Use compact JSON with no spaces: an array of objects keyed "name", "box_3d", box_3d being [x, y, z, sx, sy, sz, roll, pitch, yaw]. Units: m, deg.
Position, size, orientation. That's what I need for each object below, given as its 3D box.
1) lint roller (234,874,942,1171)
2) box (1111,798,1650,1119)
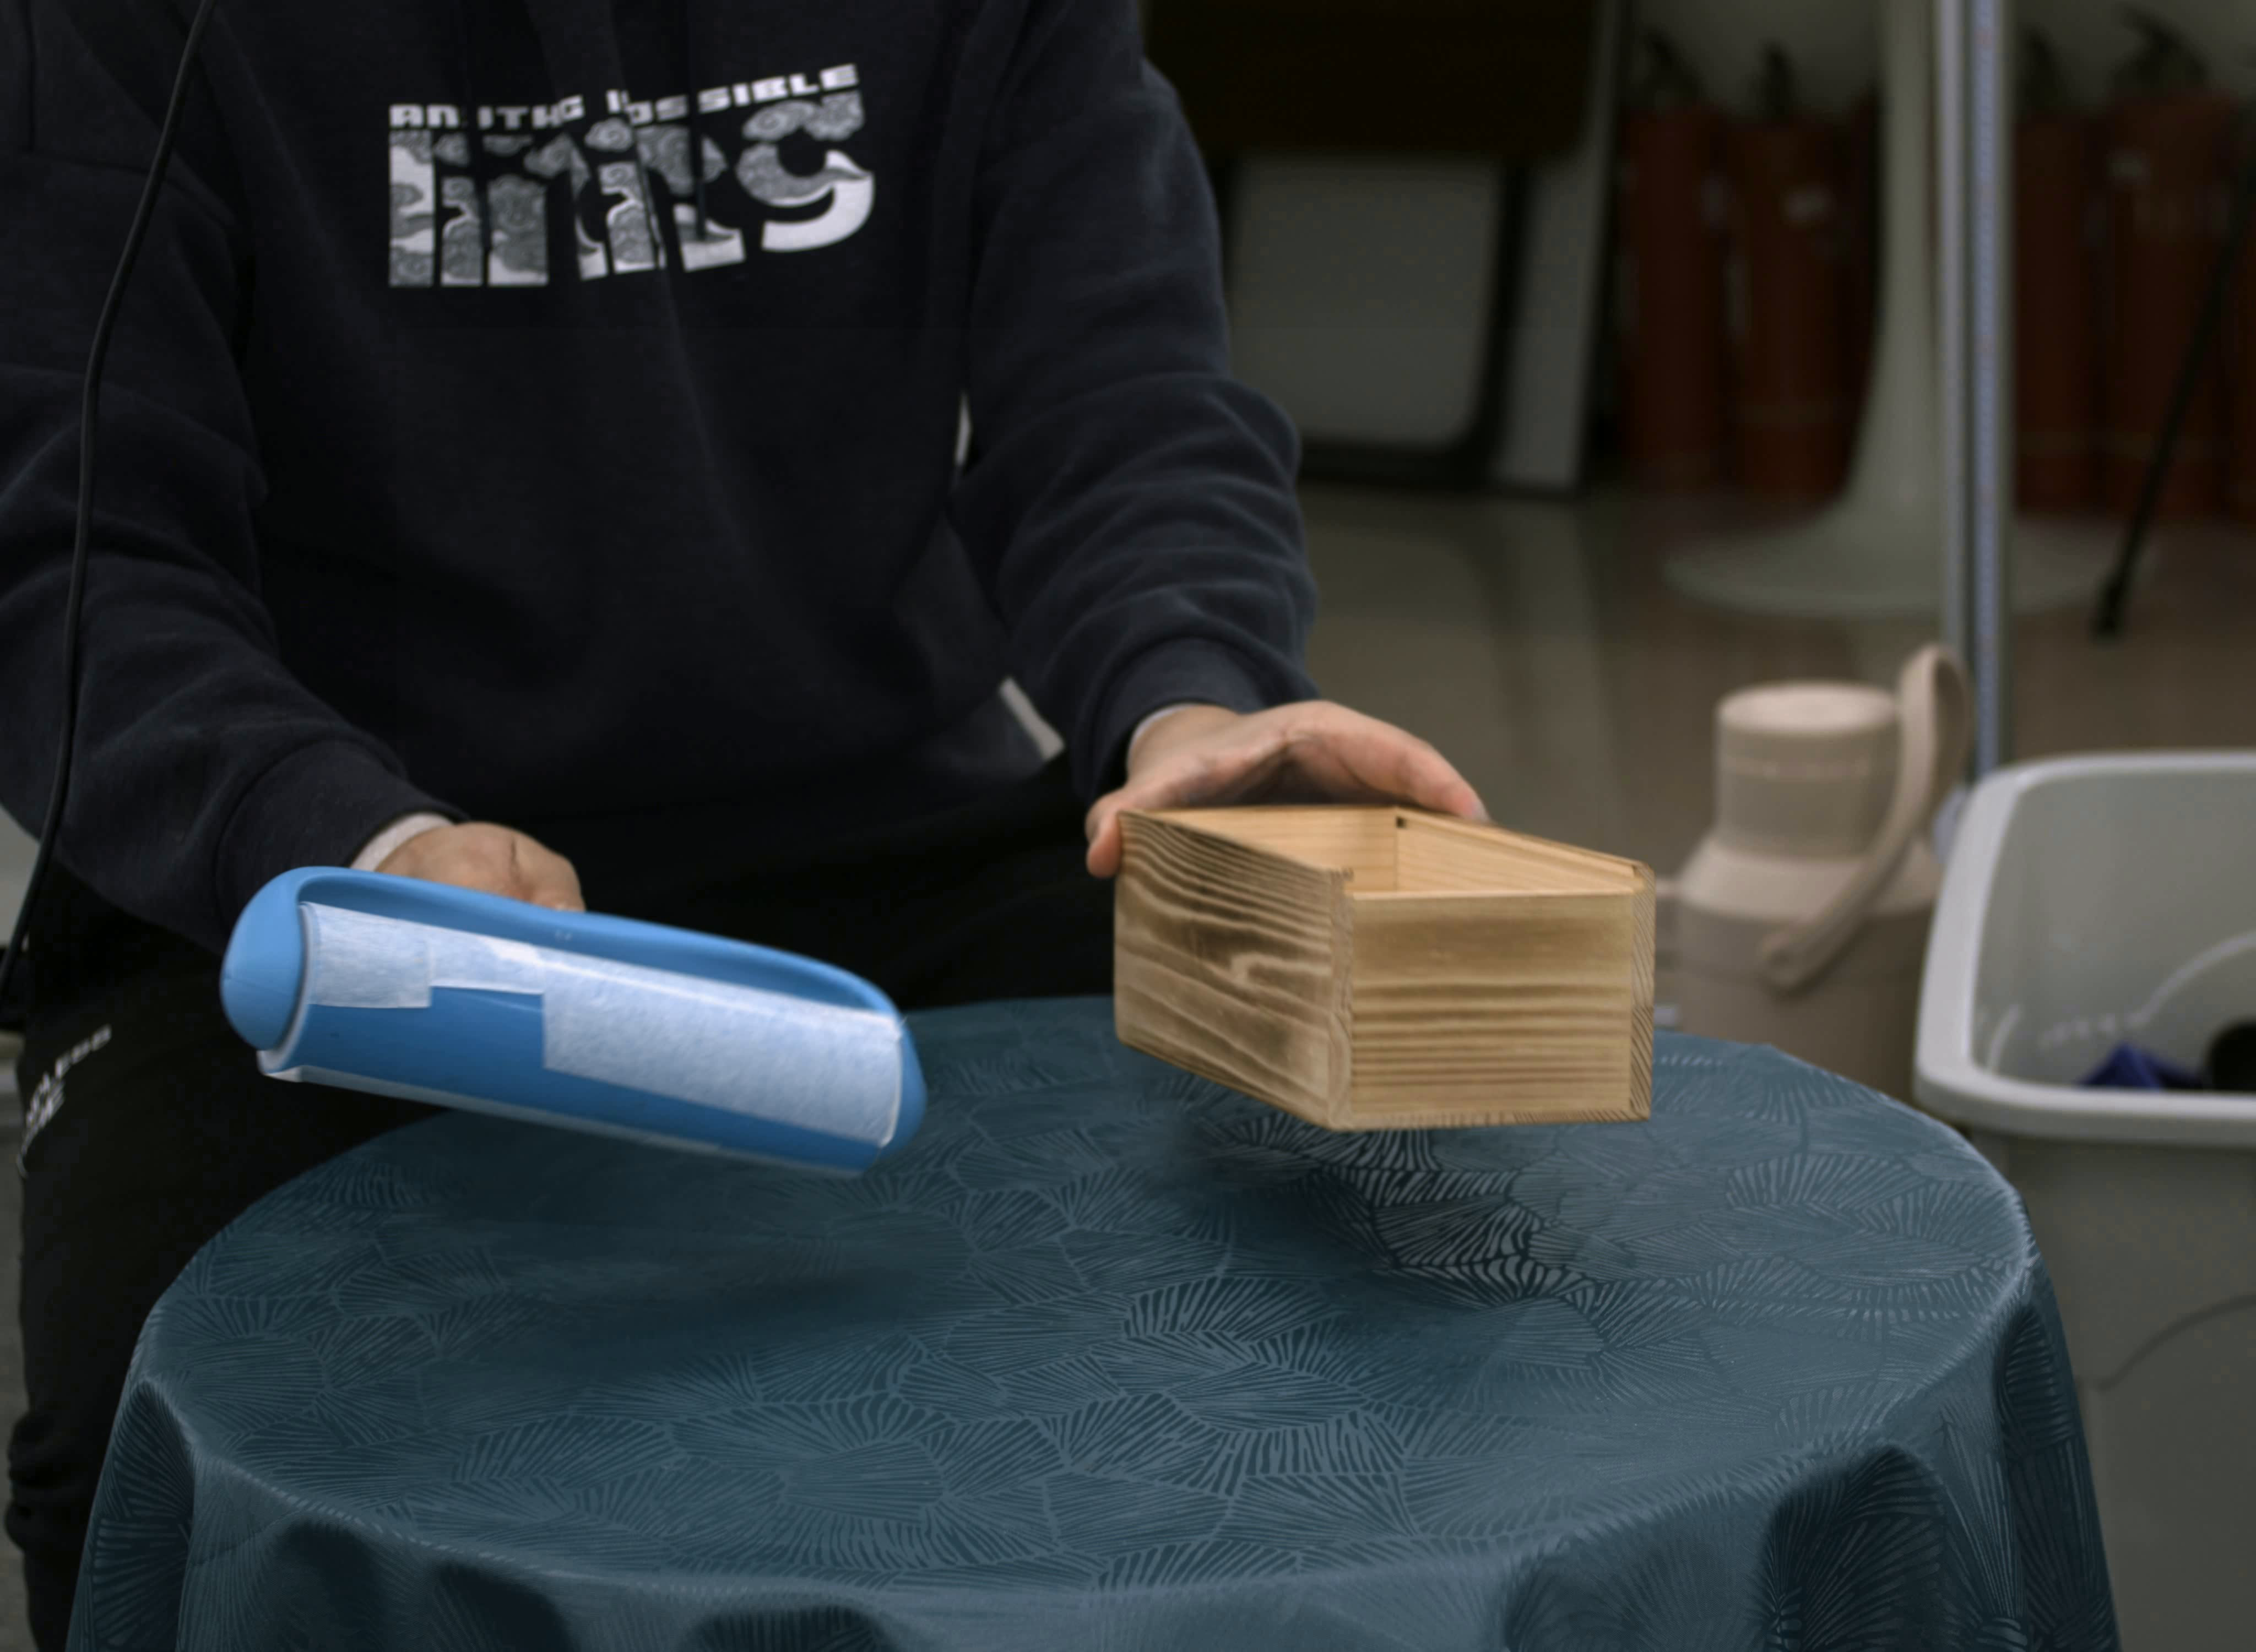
[{"name":"lint roller","box_3d":[-0.186,0.054,1.712,0.224,0.069,0.182,8,8,-24]},{"name":"box","box_3d":[0.076,0.039,1.715,0.105,0.081,0.213,-1,5,-18]}]
